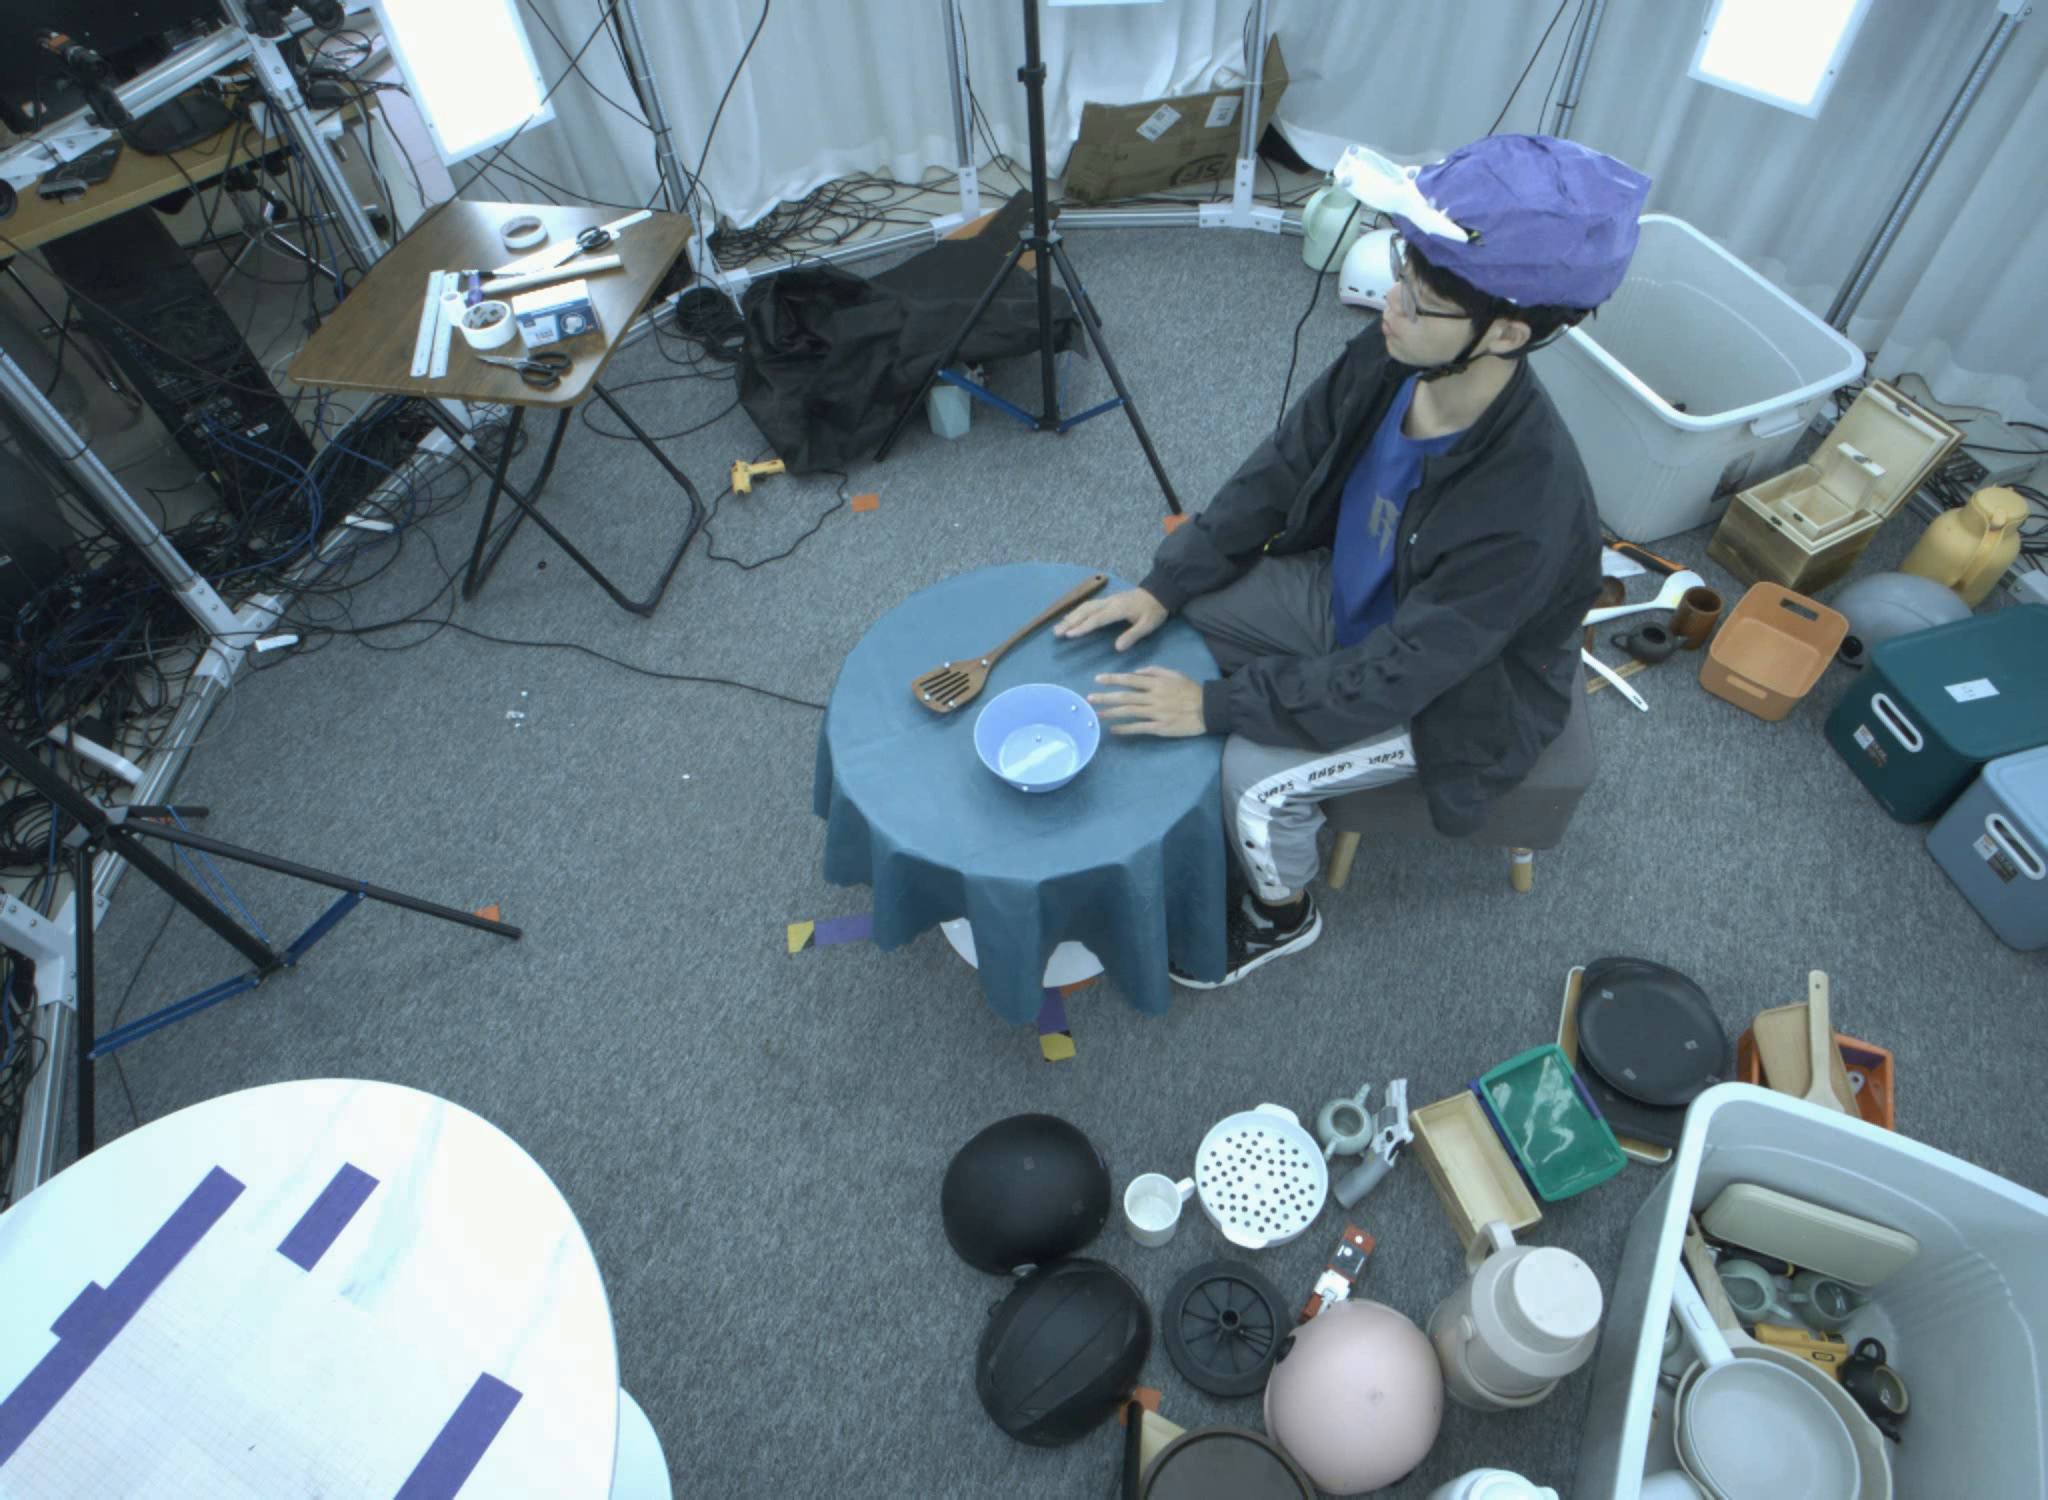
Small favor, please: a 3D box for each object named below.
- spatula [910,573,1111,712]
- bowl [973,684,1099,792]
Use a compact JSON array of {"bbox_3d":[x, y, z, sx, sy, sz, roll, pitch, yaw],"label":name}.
[{"bbox_3d":[-0.009,-0.173,1.890,0.390,0.024,0.084,-36,61,-23],"label":"spatula"},{"bbox_3d":[0.017,-0.007,1.738,0.176,0.071,0.174,0,54,1],"label":"bowl"}]
